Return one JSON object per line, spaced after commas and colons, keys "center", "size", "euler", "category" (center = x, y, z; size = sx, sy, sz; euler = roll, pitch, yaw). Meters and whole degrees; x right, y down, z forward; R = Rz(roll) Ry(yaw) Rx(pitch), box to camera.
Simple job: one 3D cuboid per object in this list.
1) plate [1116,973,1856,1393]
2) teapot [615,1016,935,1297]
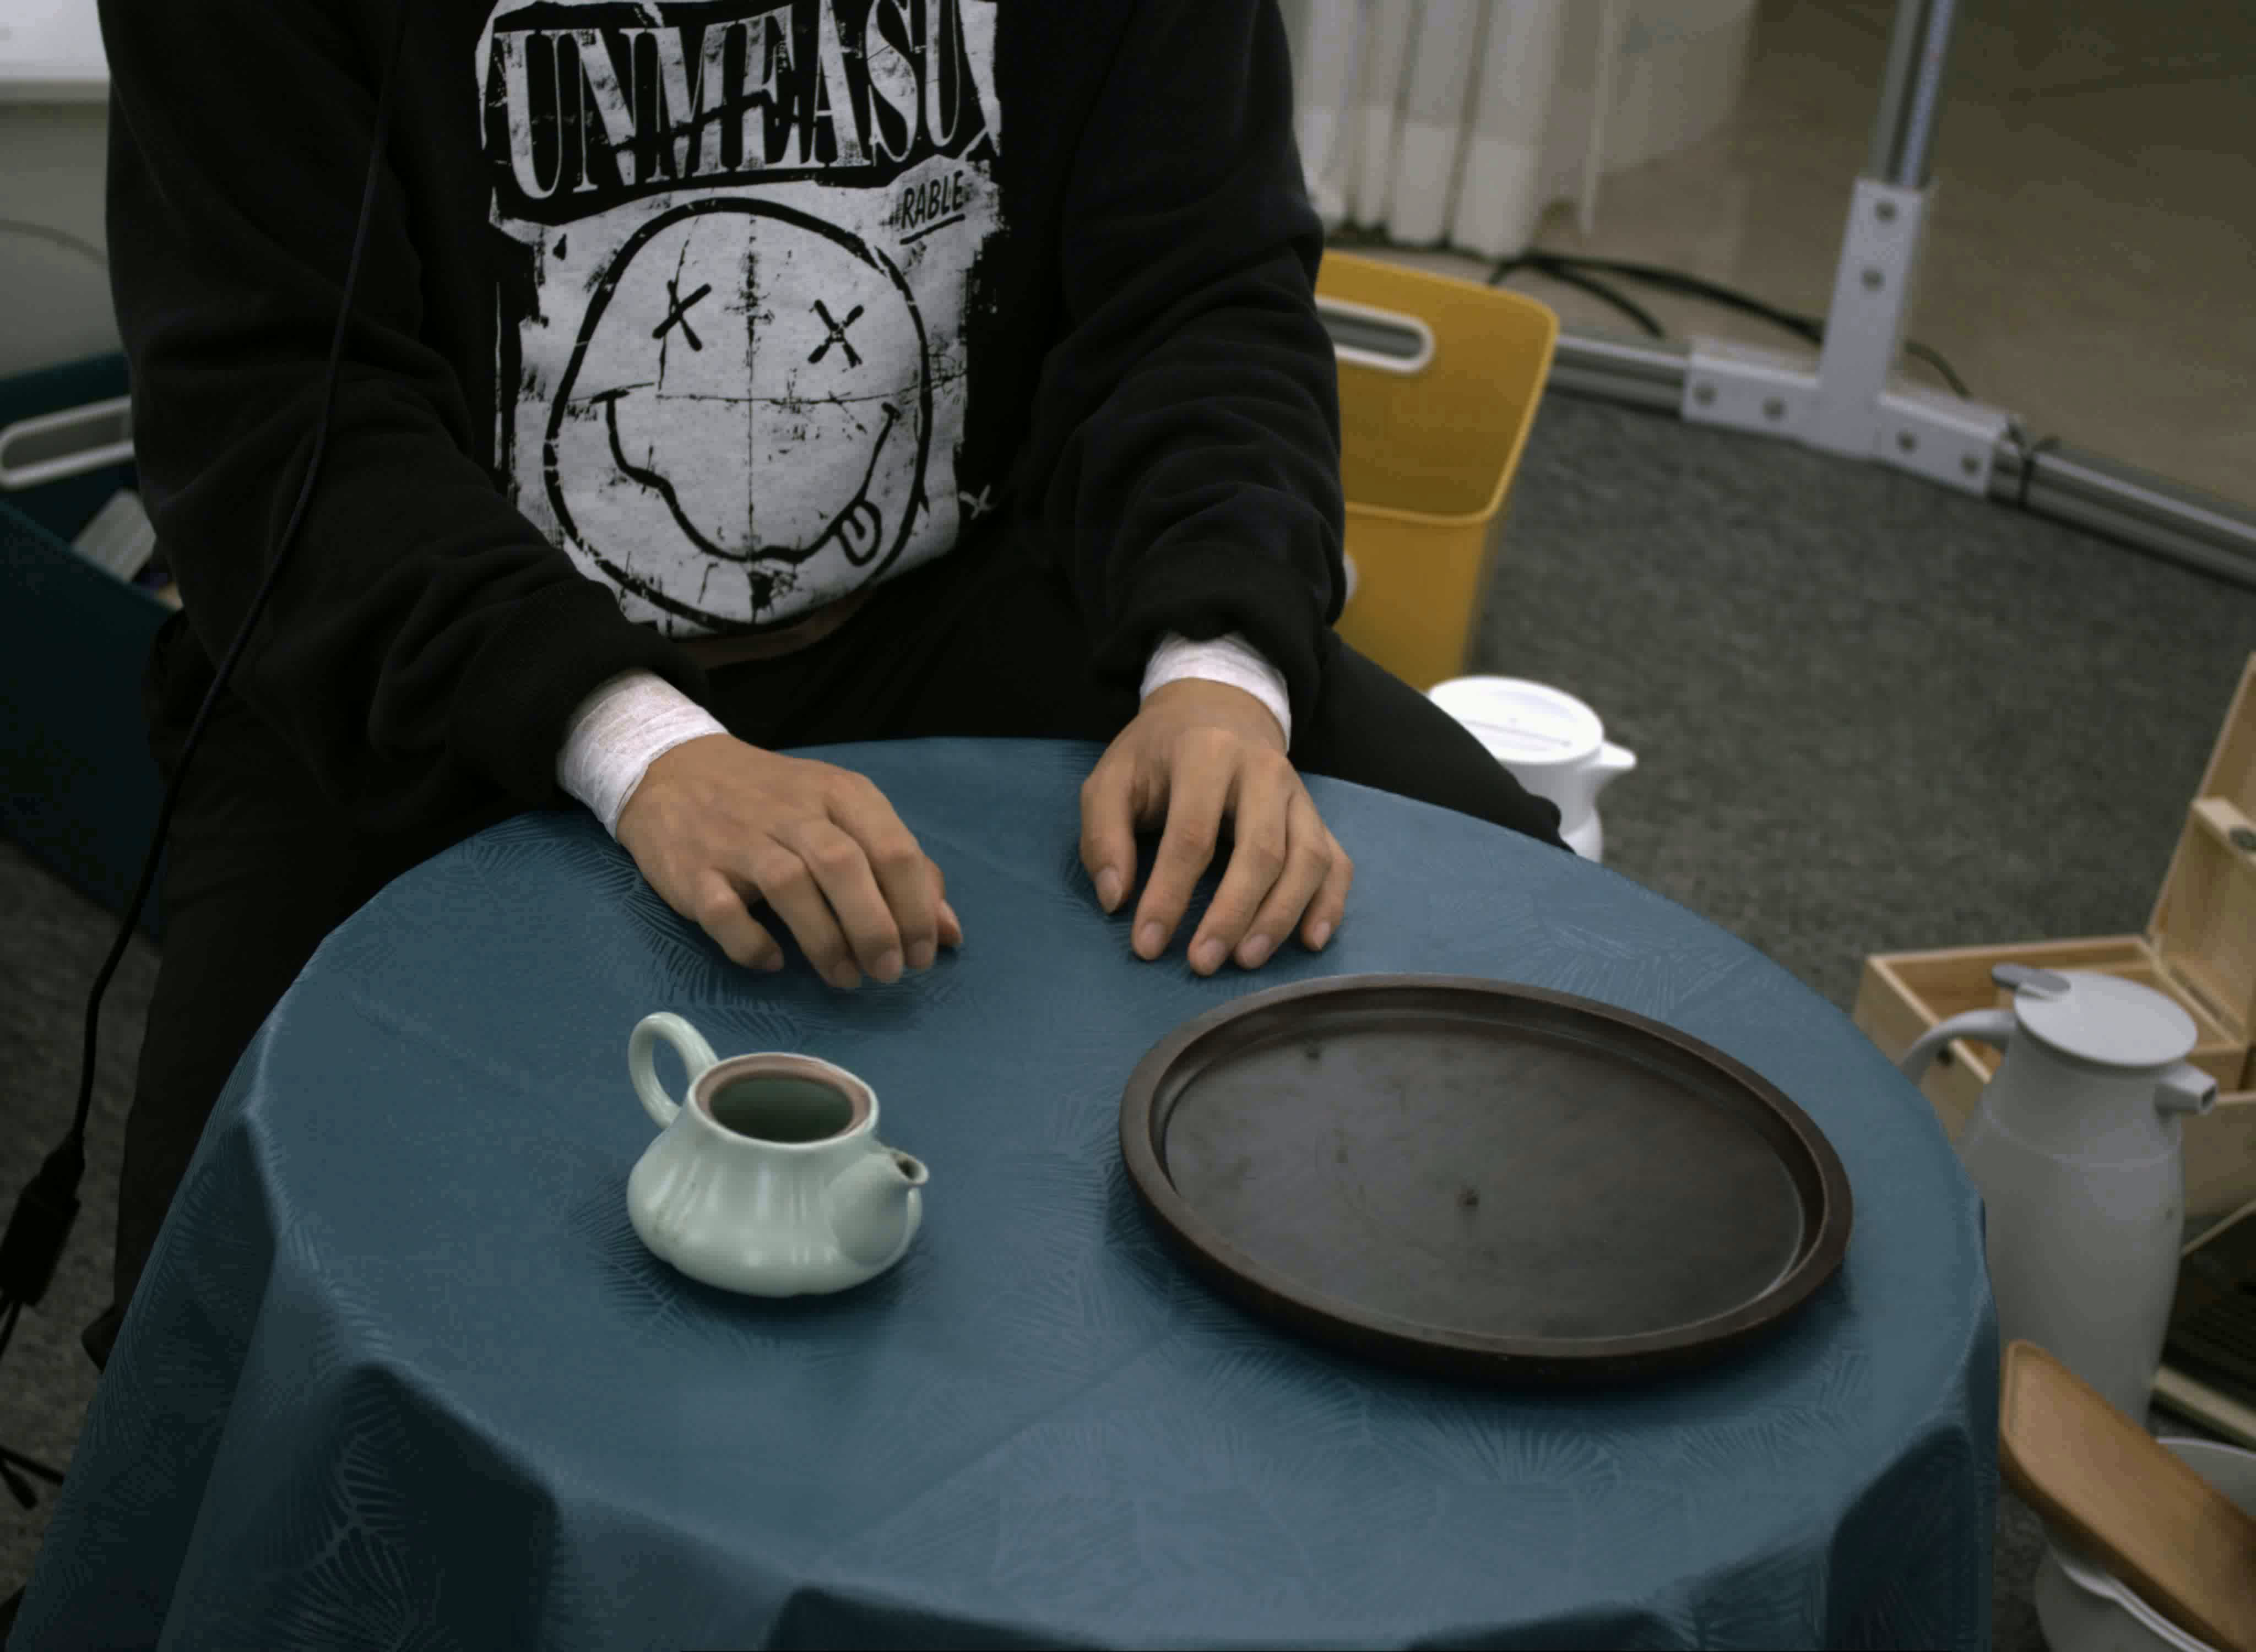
{"center": [0.121, 0.120, 1.813], "size": [0.254, 0.029, 0.256], "euler": [5, 28, -3], "category": "plate"}
{"center": [-0.118, 0.110, 1.739], "size": [0.138, 0.061, 0.096], "euler": [26, 34, 34], "category": "teapot"}
